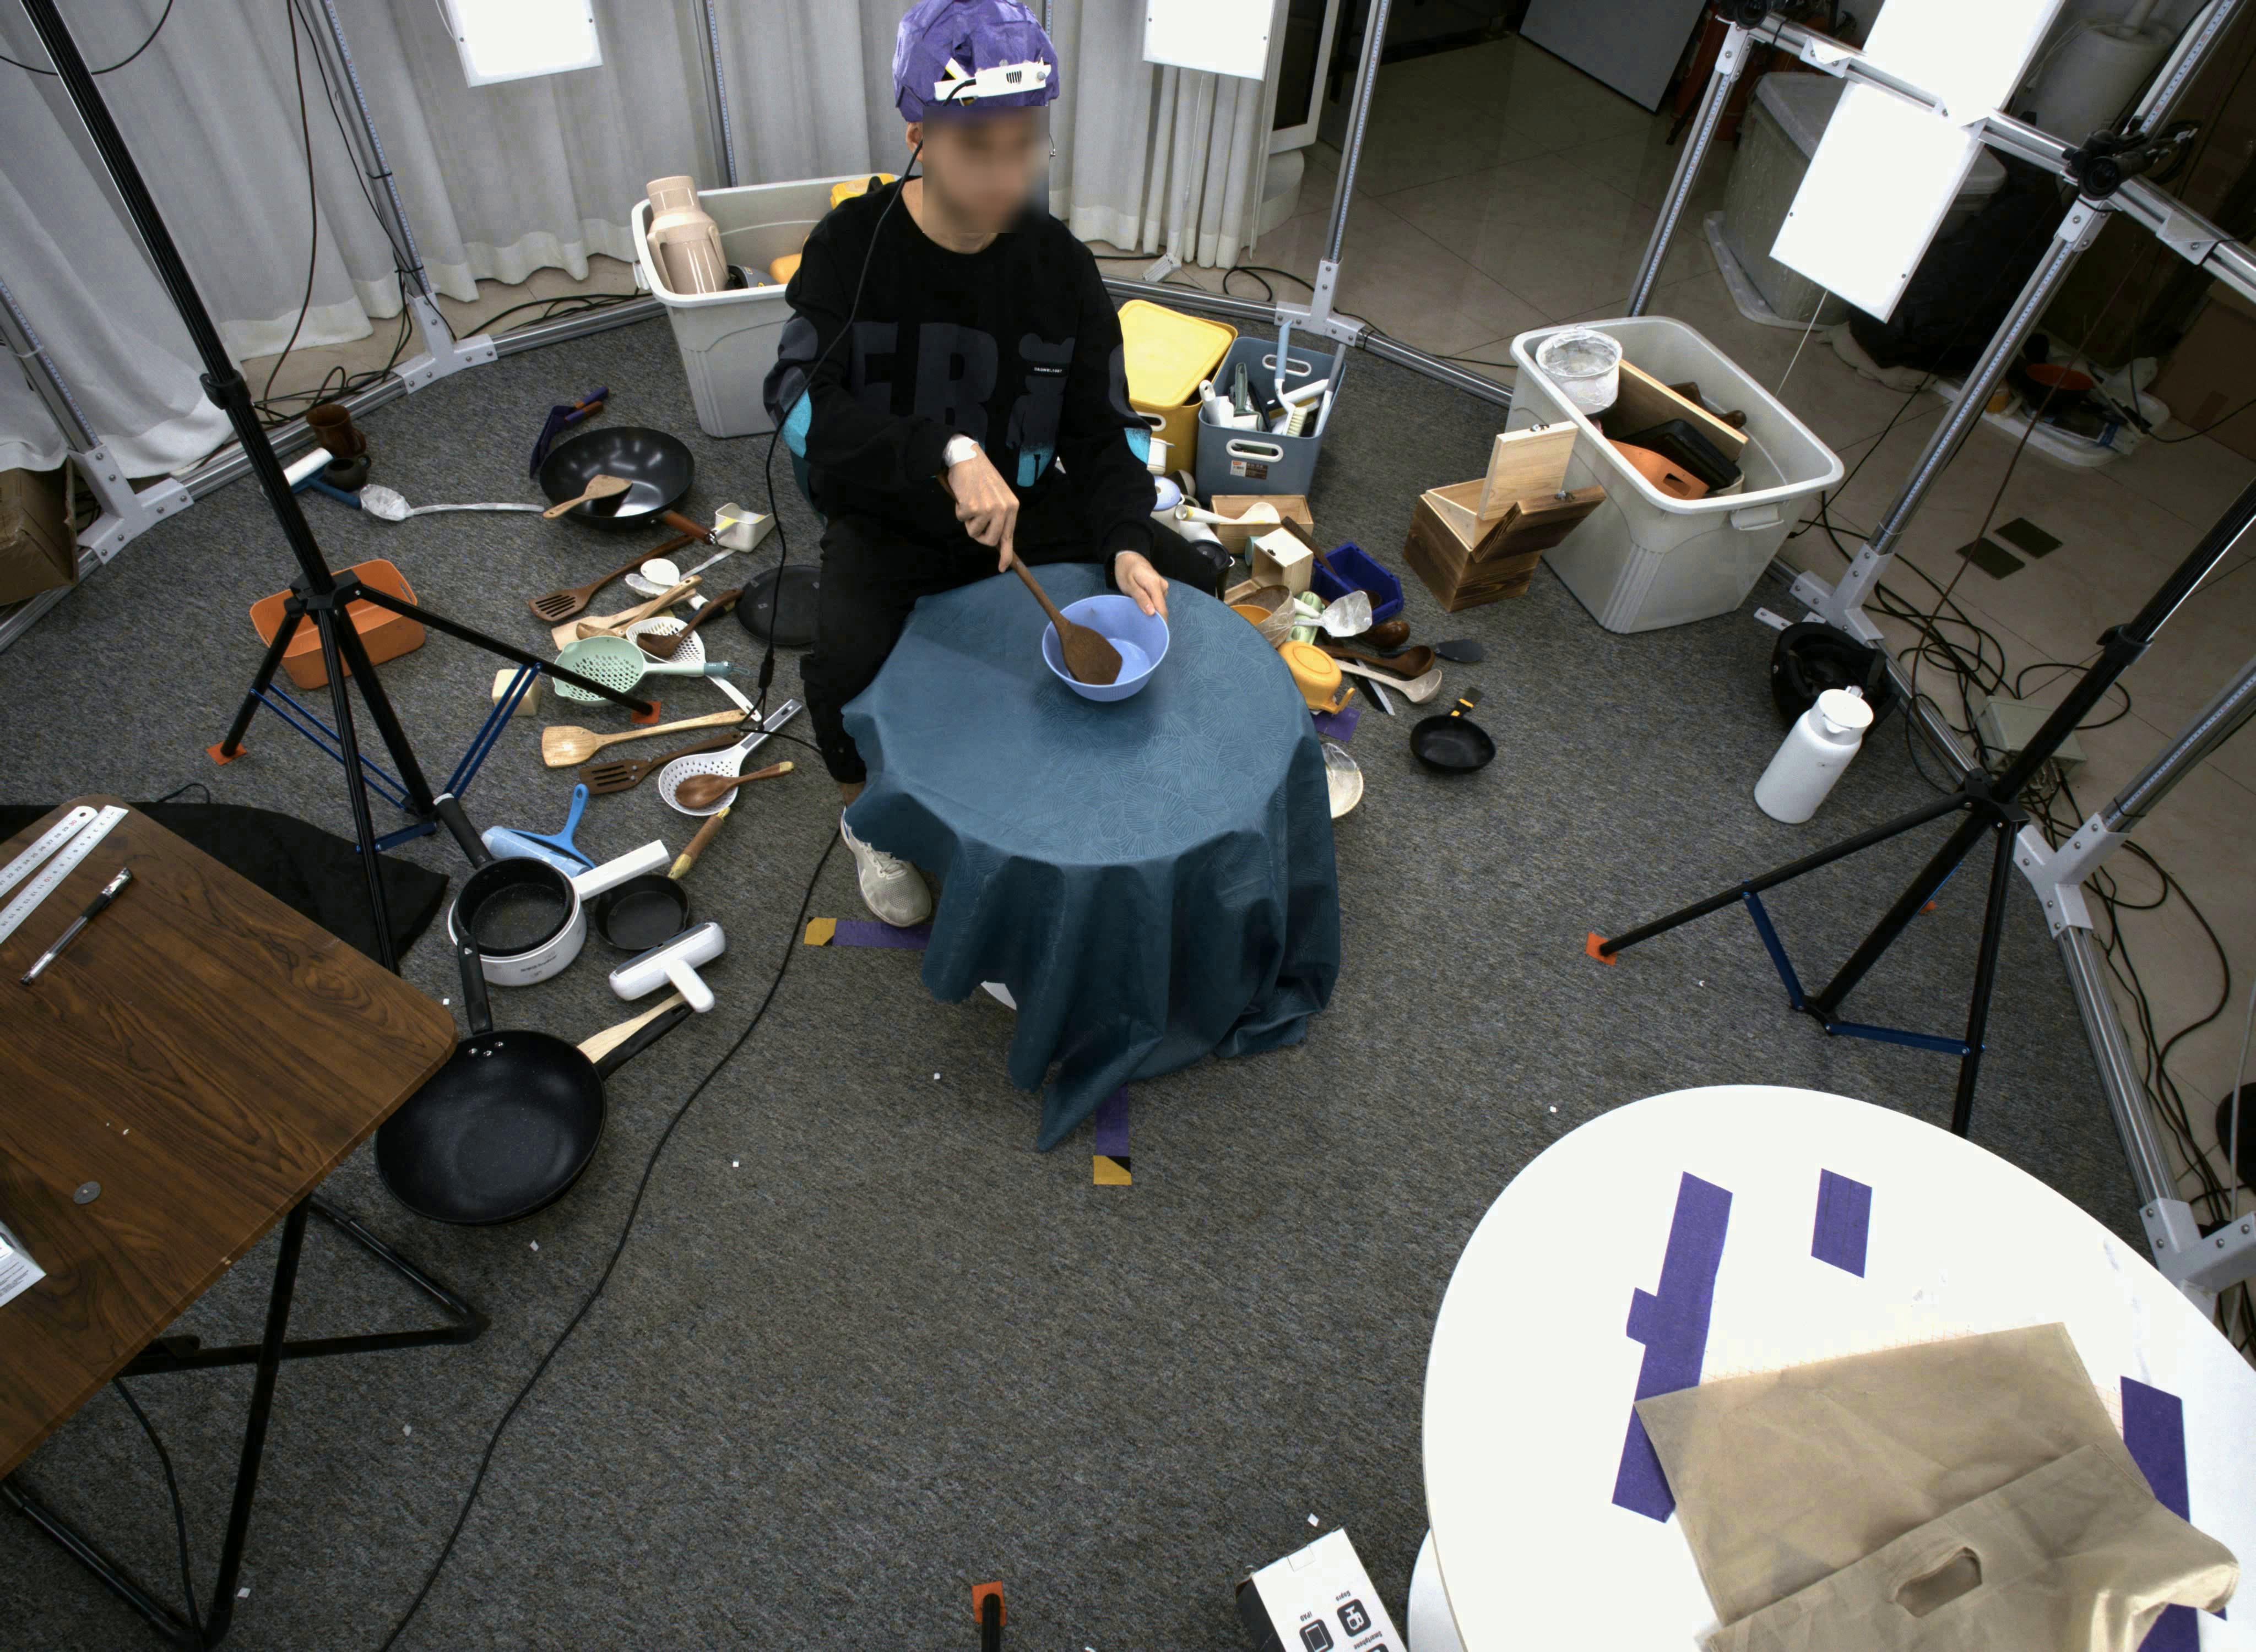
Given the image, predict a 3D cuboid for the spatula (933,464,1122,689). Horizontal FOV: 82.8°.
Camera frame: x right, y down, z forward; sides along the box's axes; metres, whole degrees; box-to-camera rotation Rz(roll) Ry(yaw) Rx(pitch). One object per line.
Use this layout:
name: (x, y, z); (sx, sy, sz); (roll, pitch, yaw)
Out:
spatula: (-0.137, -0.338, 1.766); (0.380, 0.016, 0.098); (50, 48, -19)

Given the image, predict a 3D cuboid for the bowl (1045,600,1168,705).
bowl: (-0.027, -0.237, 1.826); (0.176, 0.068, 0.180); (-5, 53, 6)
